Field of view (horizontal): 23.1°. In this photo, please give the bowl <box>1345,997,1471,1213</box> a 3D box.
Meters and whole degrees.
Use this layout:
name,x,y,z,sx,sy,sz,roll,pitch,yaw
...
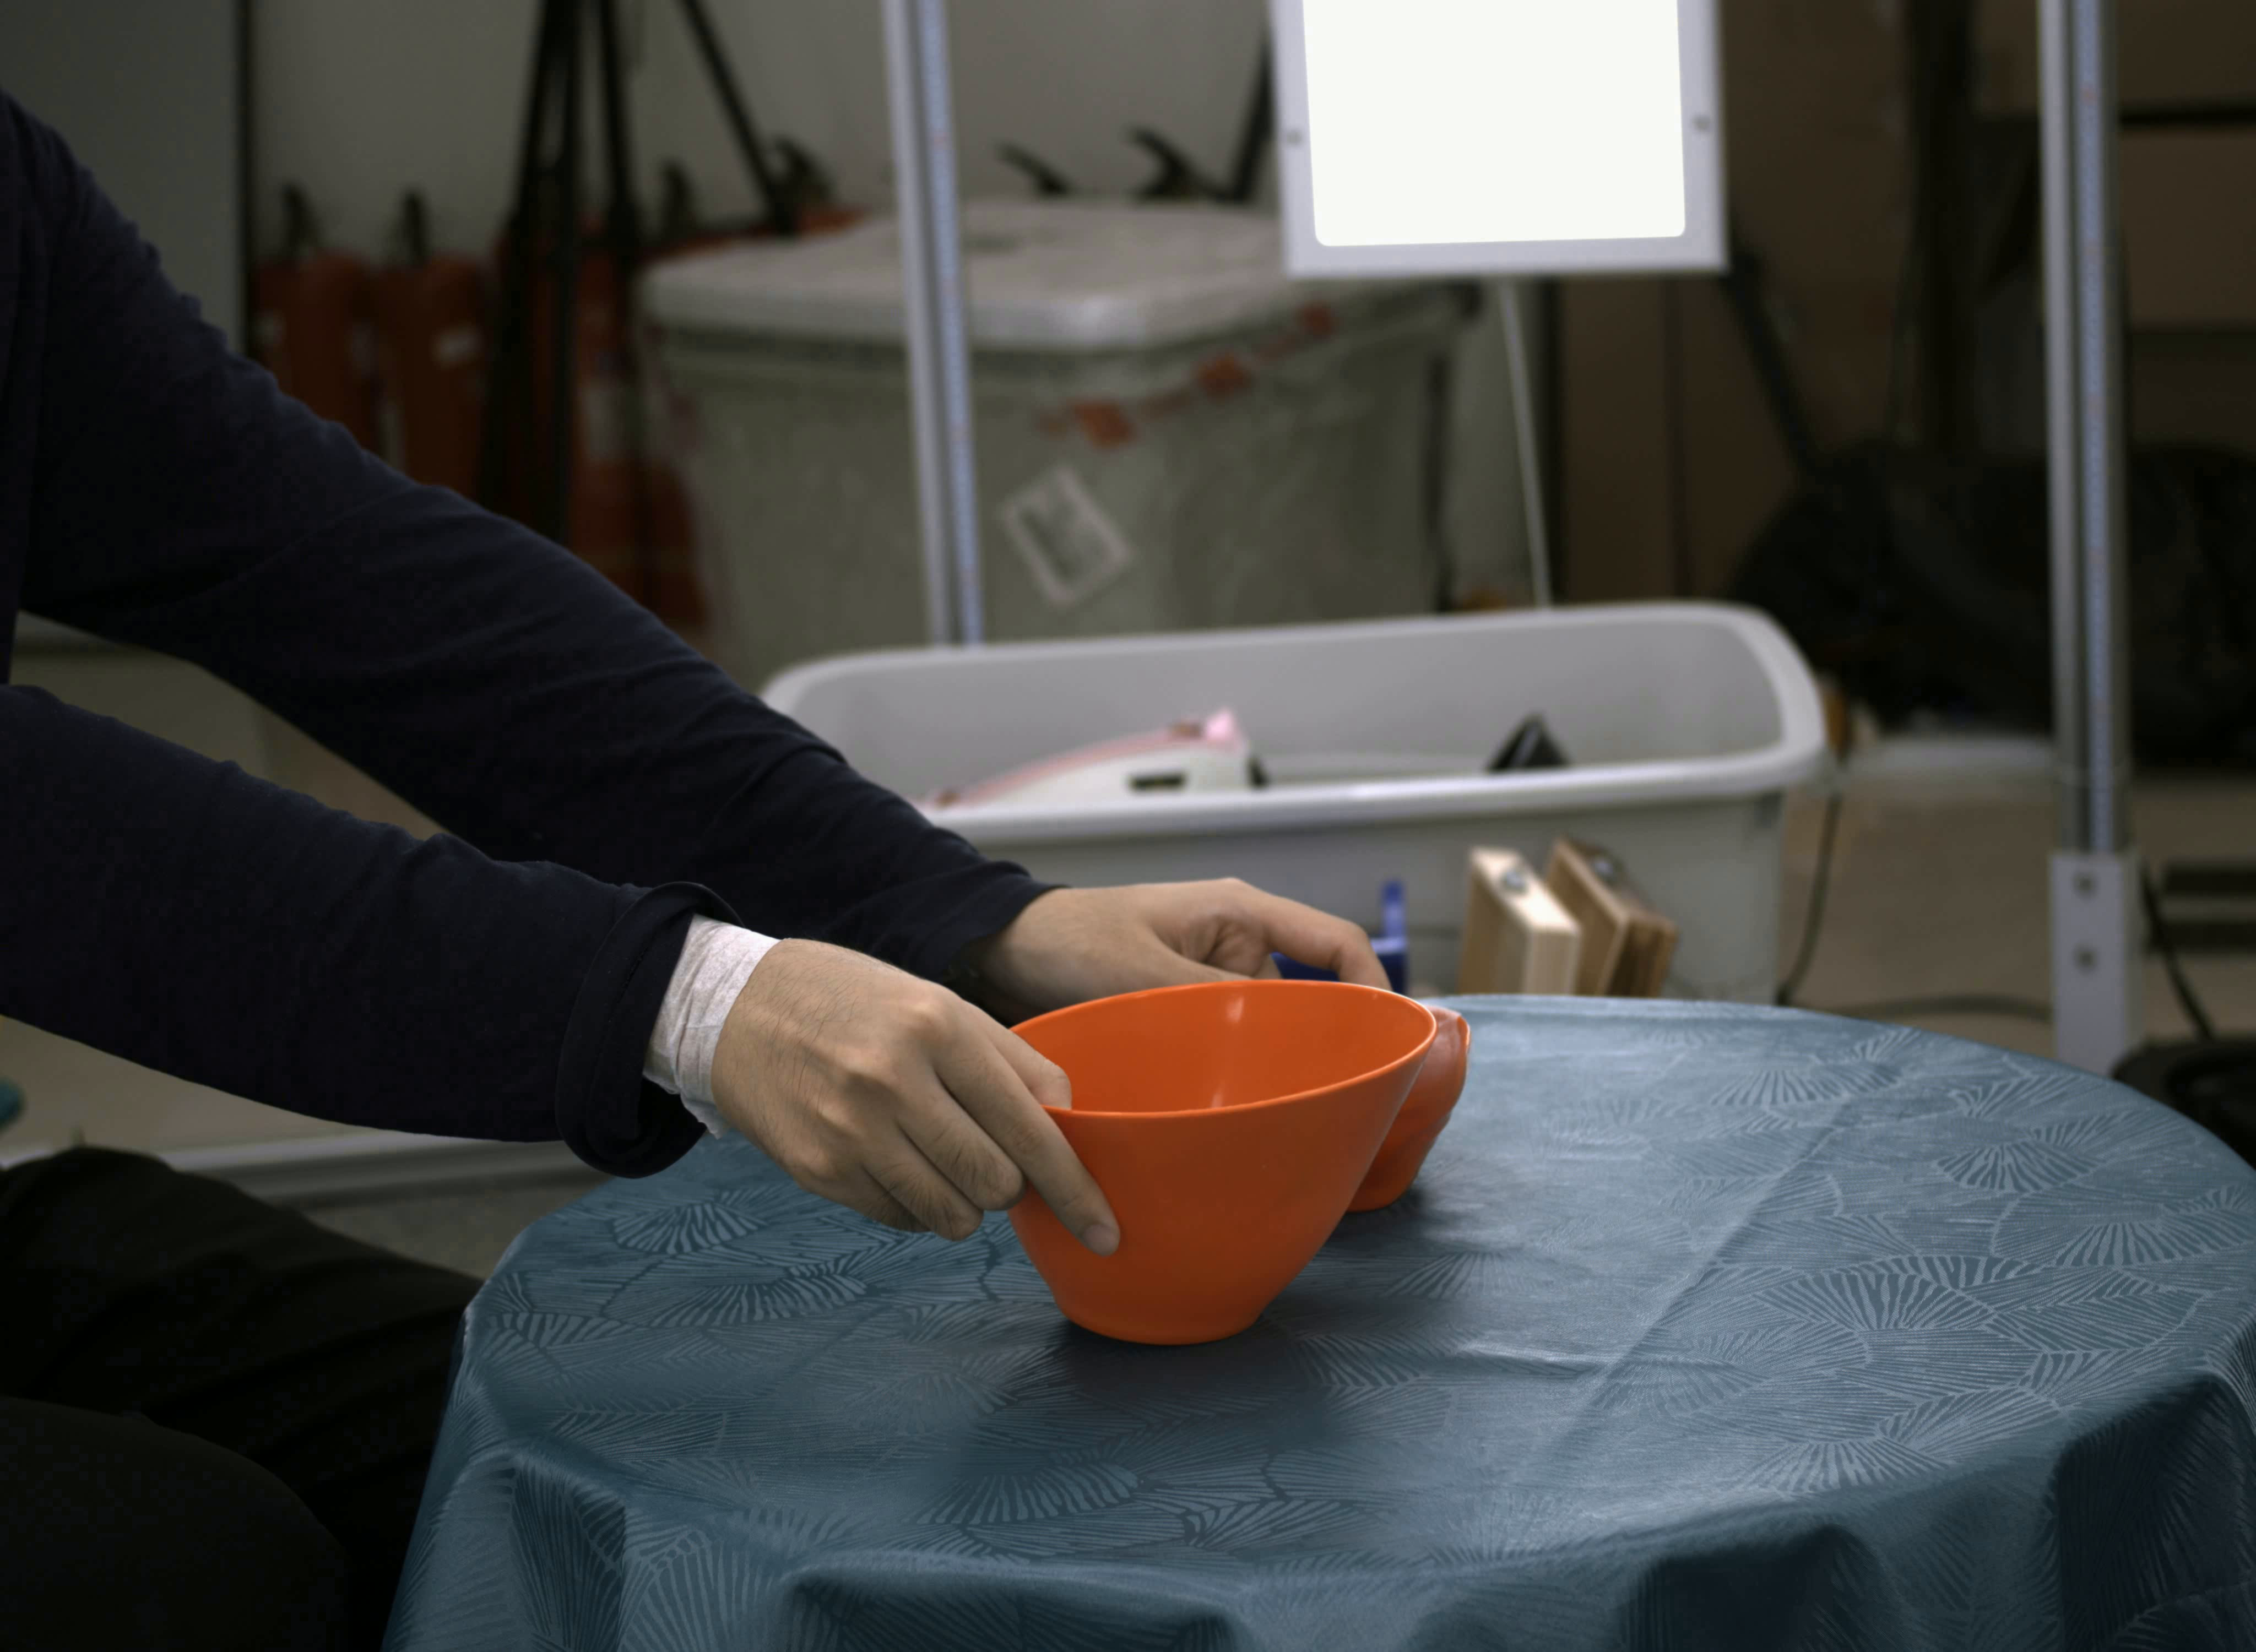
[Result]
name,x,y,z,sx,sy,sz,roll,pitch,yaw
bowl,0.064,0.098,1.887,0.118,0.051,0.119,-5,15,0

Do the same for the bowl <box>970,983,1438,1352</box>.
name,x,y,z,sx,sy,sz,roll,pitch,yaw
bowl,0.022,0.109,1.746,0.147,0.105,0.148,1,19,-2
